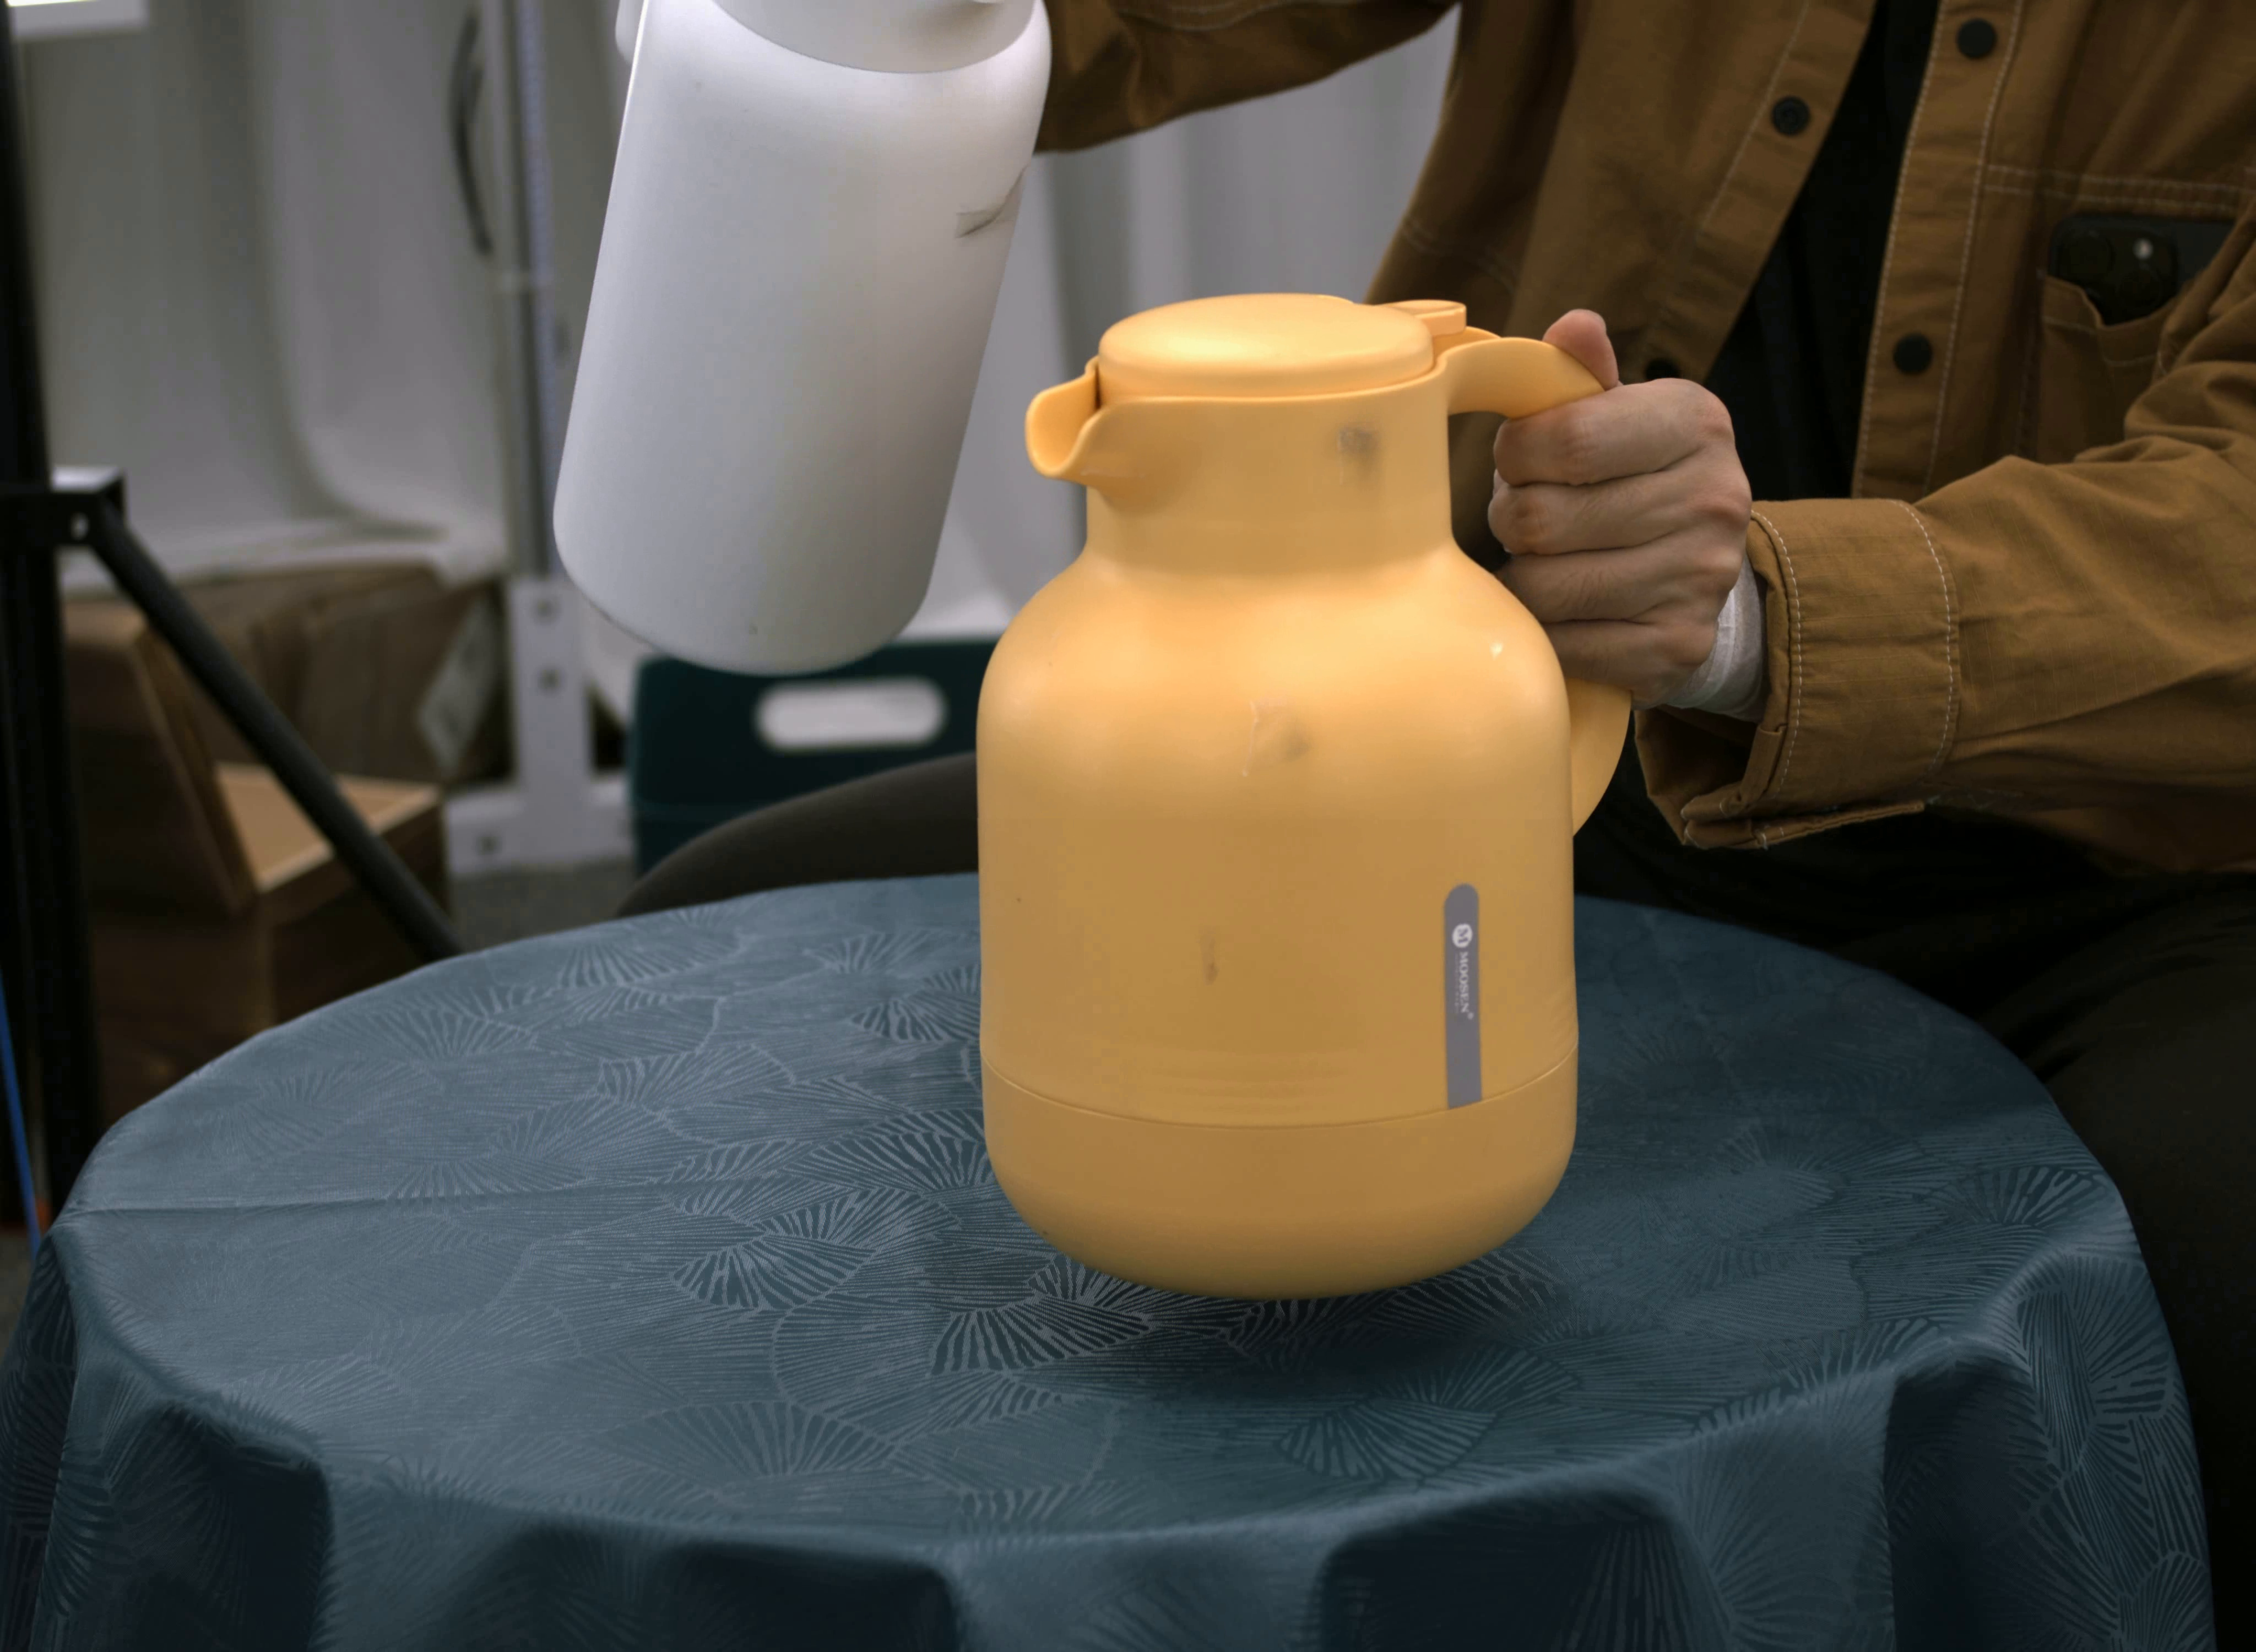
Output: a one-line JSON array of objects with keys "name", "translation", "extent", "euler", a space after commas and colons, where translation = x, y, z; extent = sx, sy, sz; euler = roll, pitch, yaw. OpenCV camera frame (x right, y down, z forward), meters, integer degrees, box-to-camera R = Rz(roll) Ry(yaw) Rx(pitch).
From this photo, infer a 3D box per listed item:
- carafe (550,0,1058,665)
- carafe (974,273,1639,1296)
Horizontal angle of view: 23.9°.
[{"name": "carafe", "translation": [-0.101, -0.192, 1.561], "extent": [0.121, 0.269, 0.176], "euler": [-14, 49, -29]}, {"name": "carafe", "translation": [0.056, -0.018, 1.432], "extent": [0.198, 0.260, 0.167], "euler": [-13, 22, -31]}]
